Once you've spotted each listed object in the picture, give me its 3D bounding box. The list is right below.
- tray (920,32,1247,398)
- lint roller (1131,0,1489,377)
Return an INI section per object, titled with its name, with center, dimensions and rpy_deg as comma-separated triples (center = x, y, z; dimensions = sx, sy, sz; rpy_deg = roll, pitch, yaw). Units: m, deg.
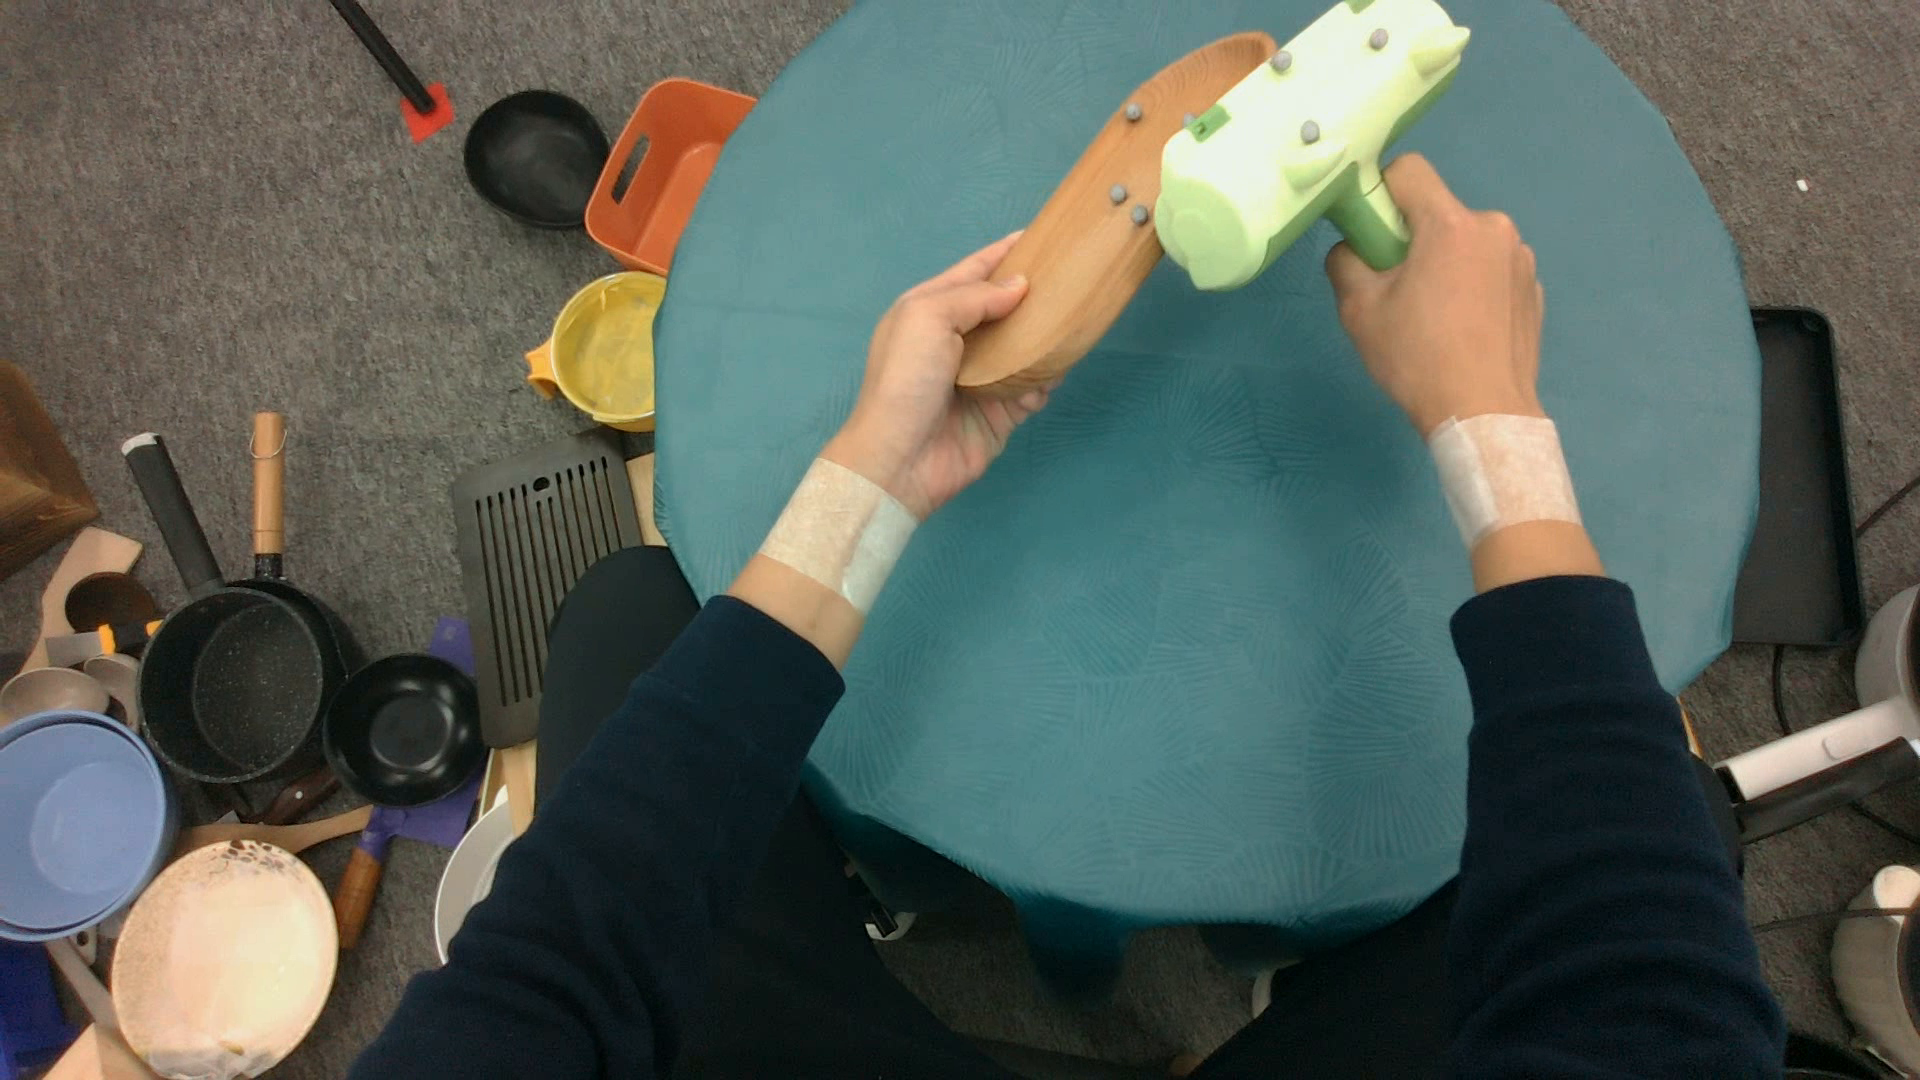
[tray]
center = 0.060, -0.155, 0.646
dimensions = 0.020, 0.101, 0.232
rpy_deg = 44, 68, -30
[lint roller]
center = 0.189, -0.153, 0.618
dimensions = 0.183, 0.082, 0.199
rpy_deg = 43, 58, -1
